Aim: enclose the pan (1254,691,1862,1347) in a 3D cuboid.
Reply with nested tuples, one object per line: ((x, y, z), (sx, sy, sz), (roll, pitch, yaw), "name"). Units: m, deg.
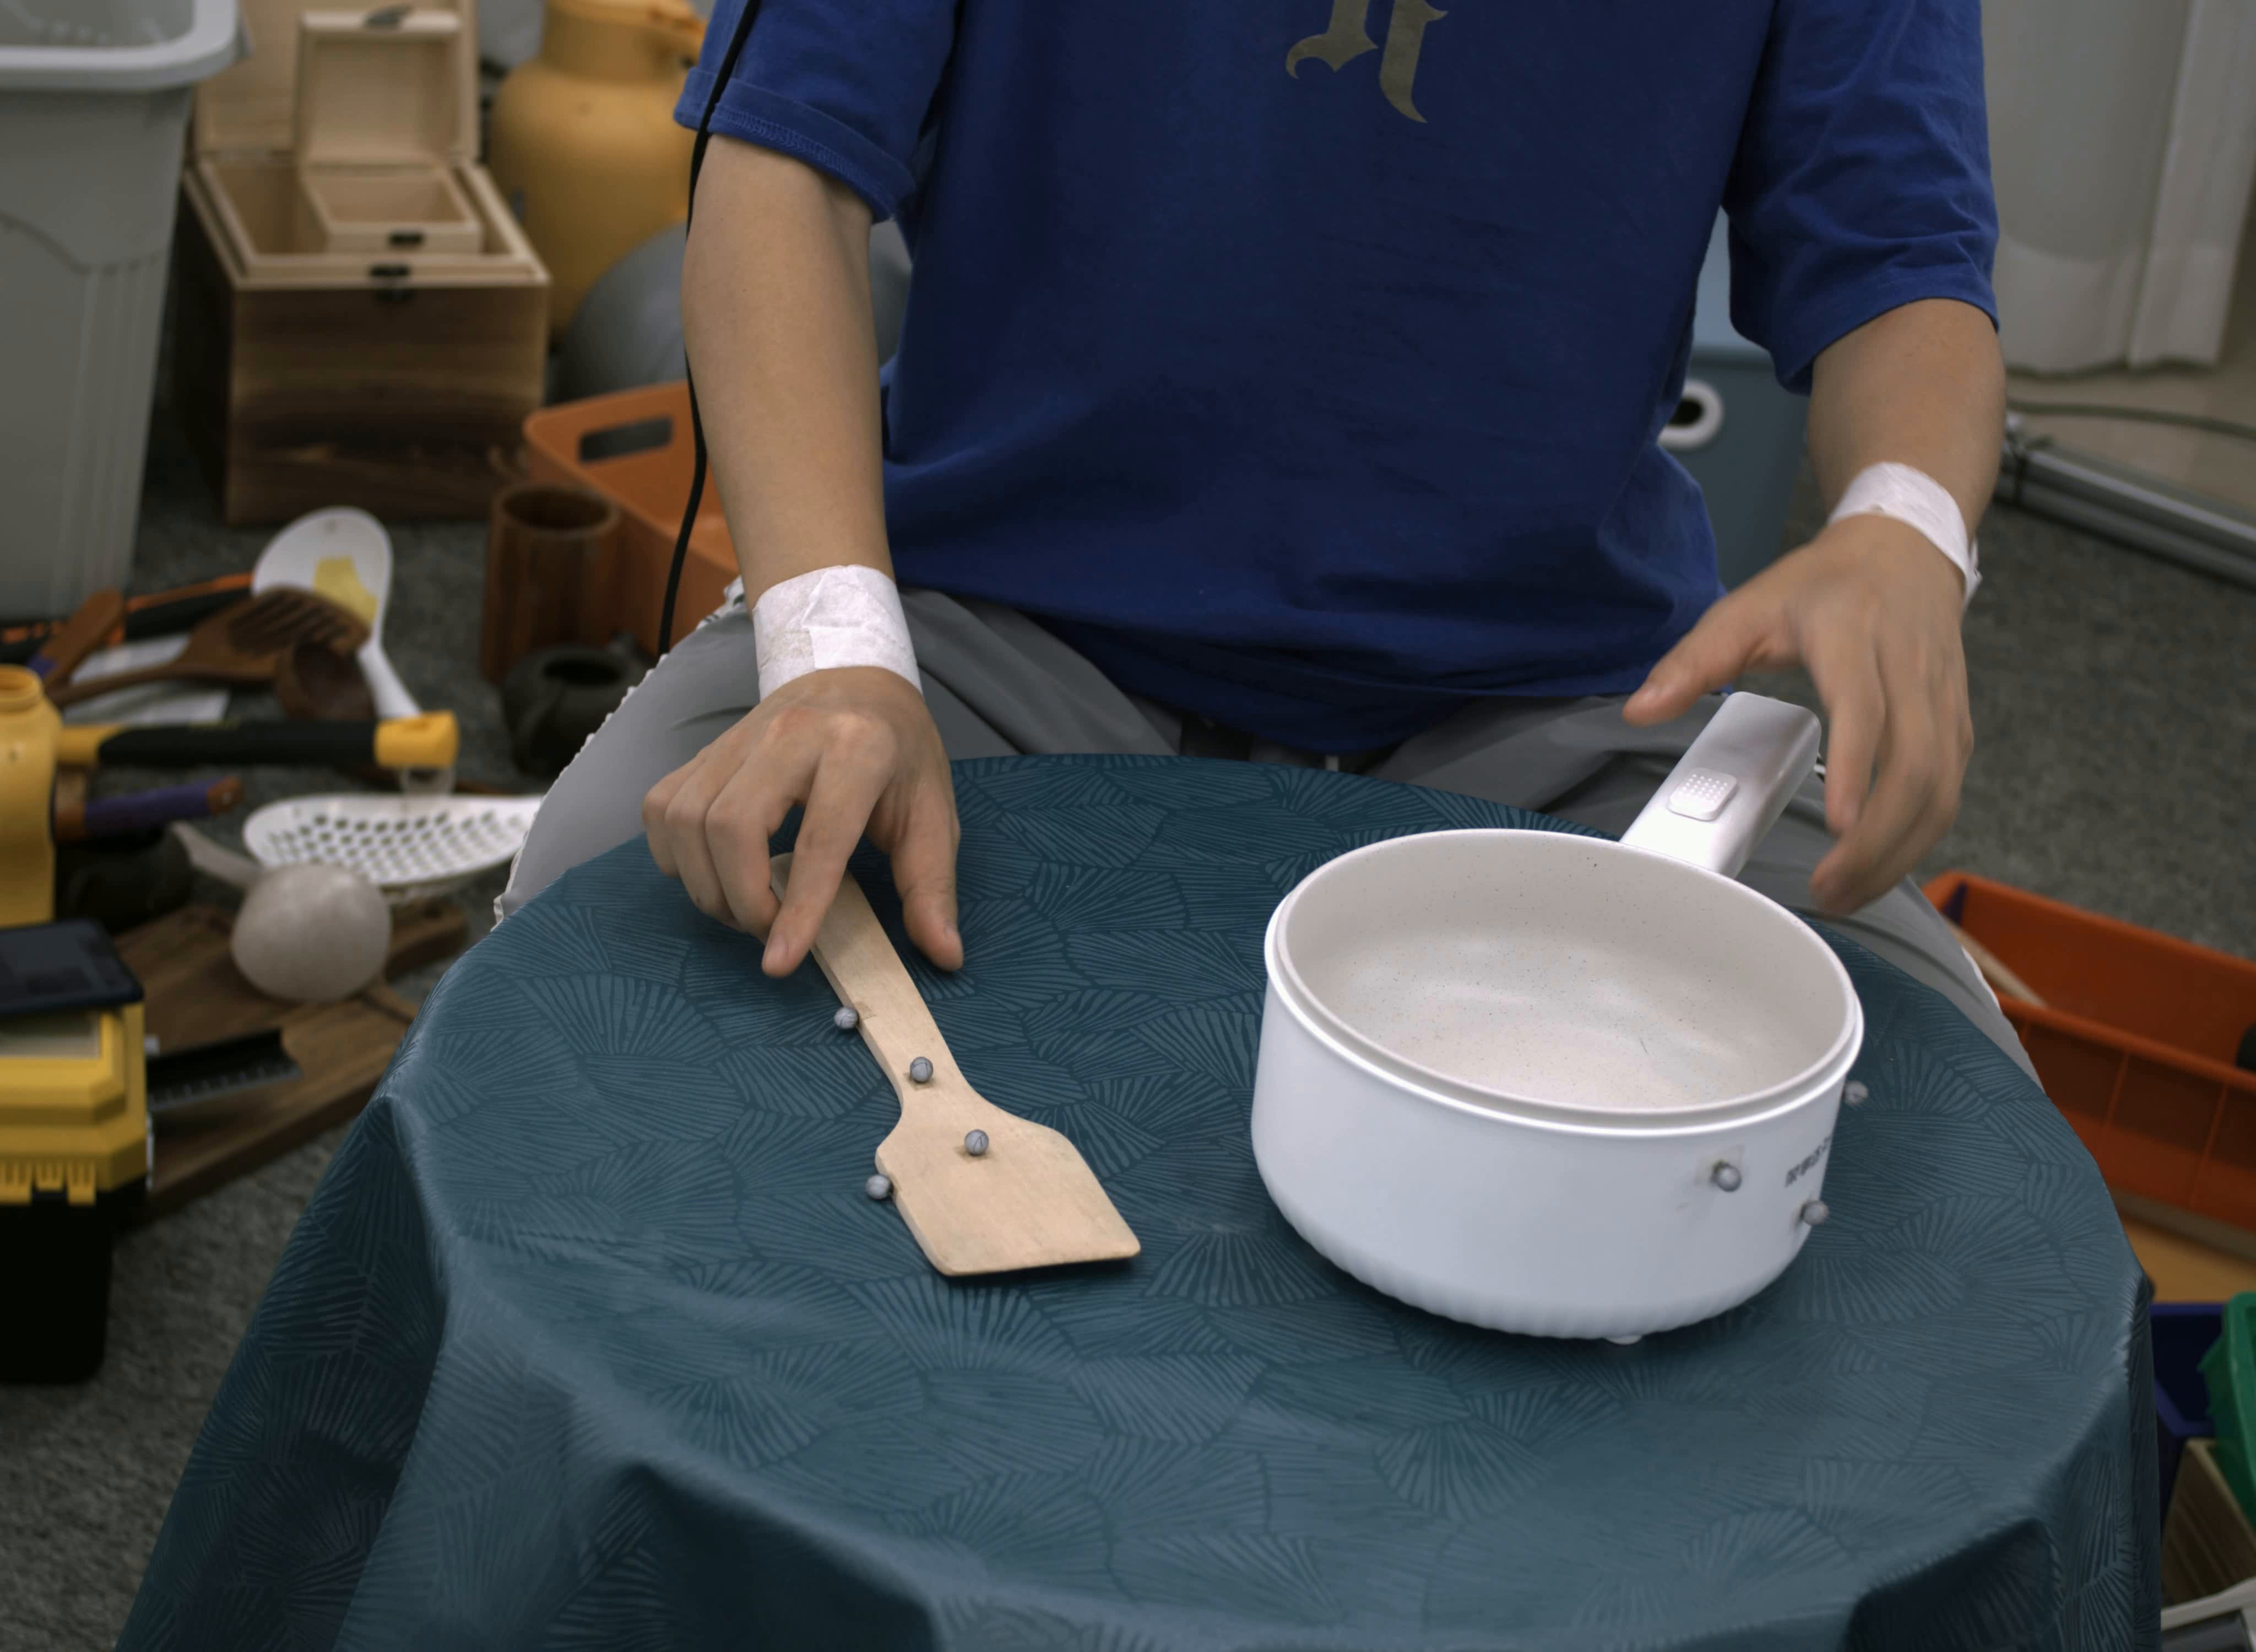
((0.170, 0.062, 1.856), (0.202, 0.102, 0.355), (14, 28, 18), "pan")

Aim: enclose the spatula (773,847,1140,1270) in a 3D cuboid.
((-0.075, 0.078, 1.867), (0.072, 0.010, 0.295), (-4, 29, -19), "spatula")
